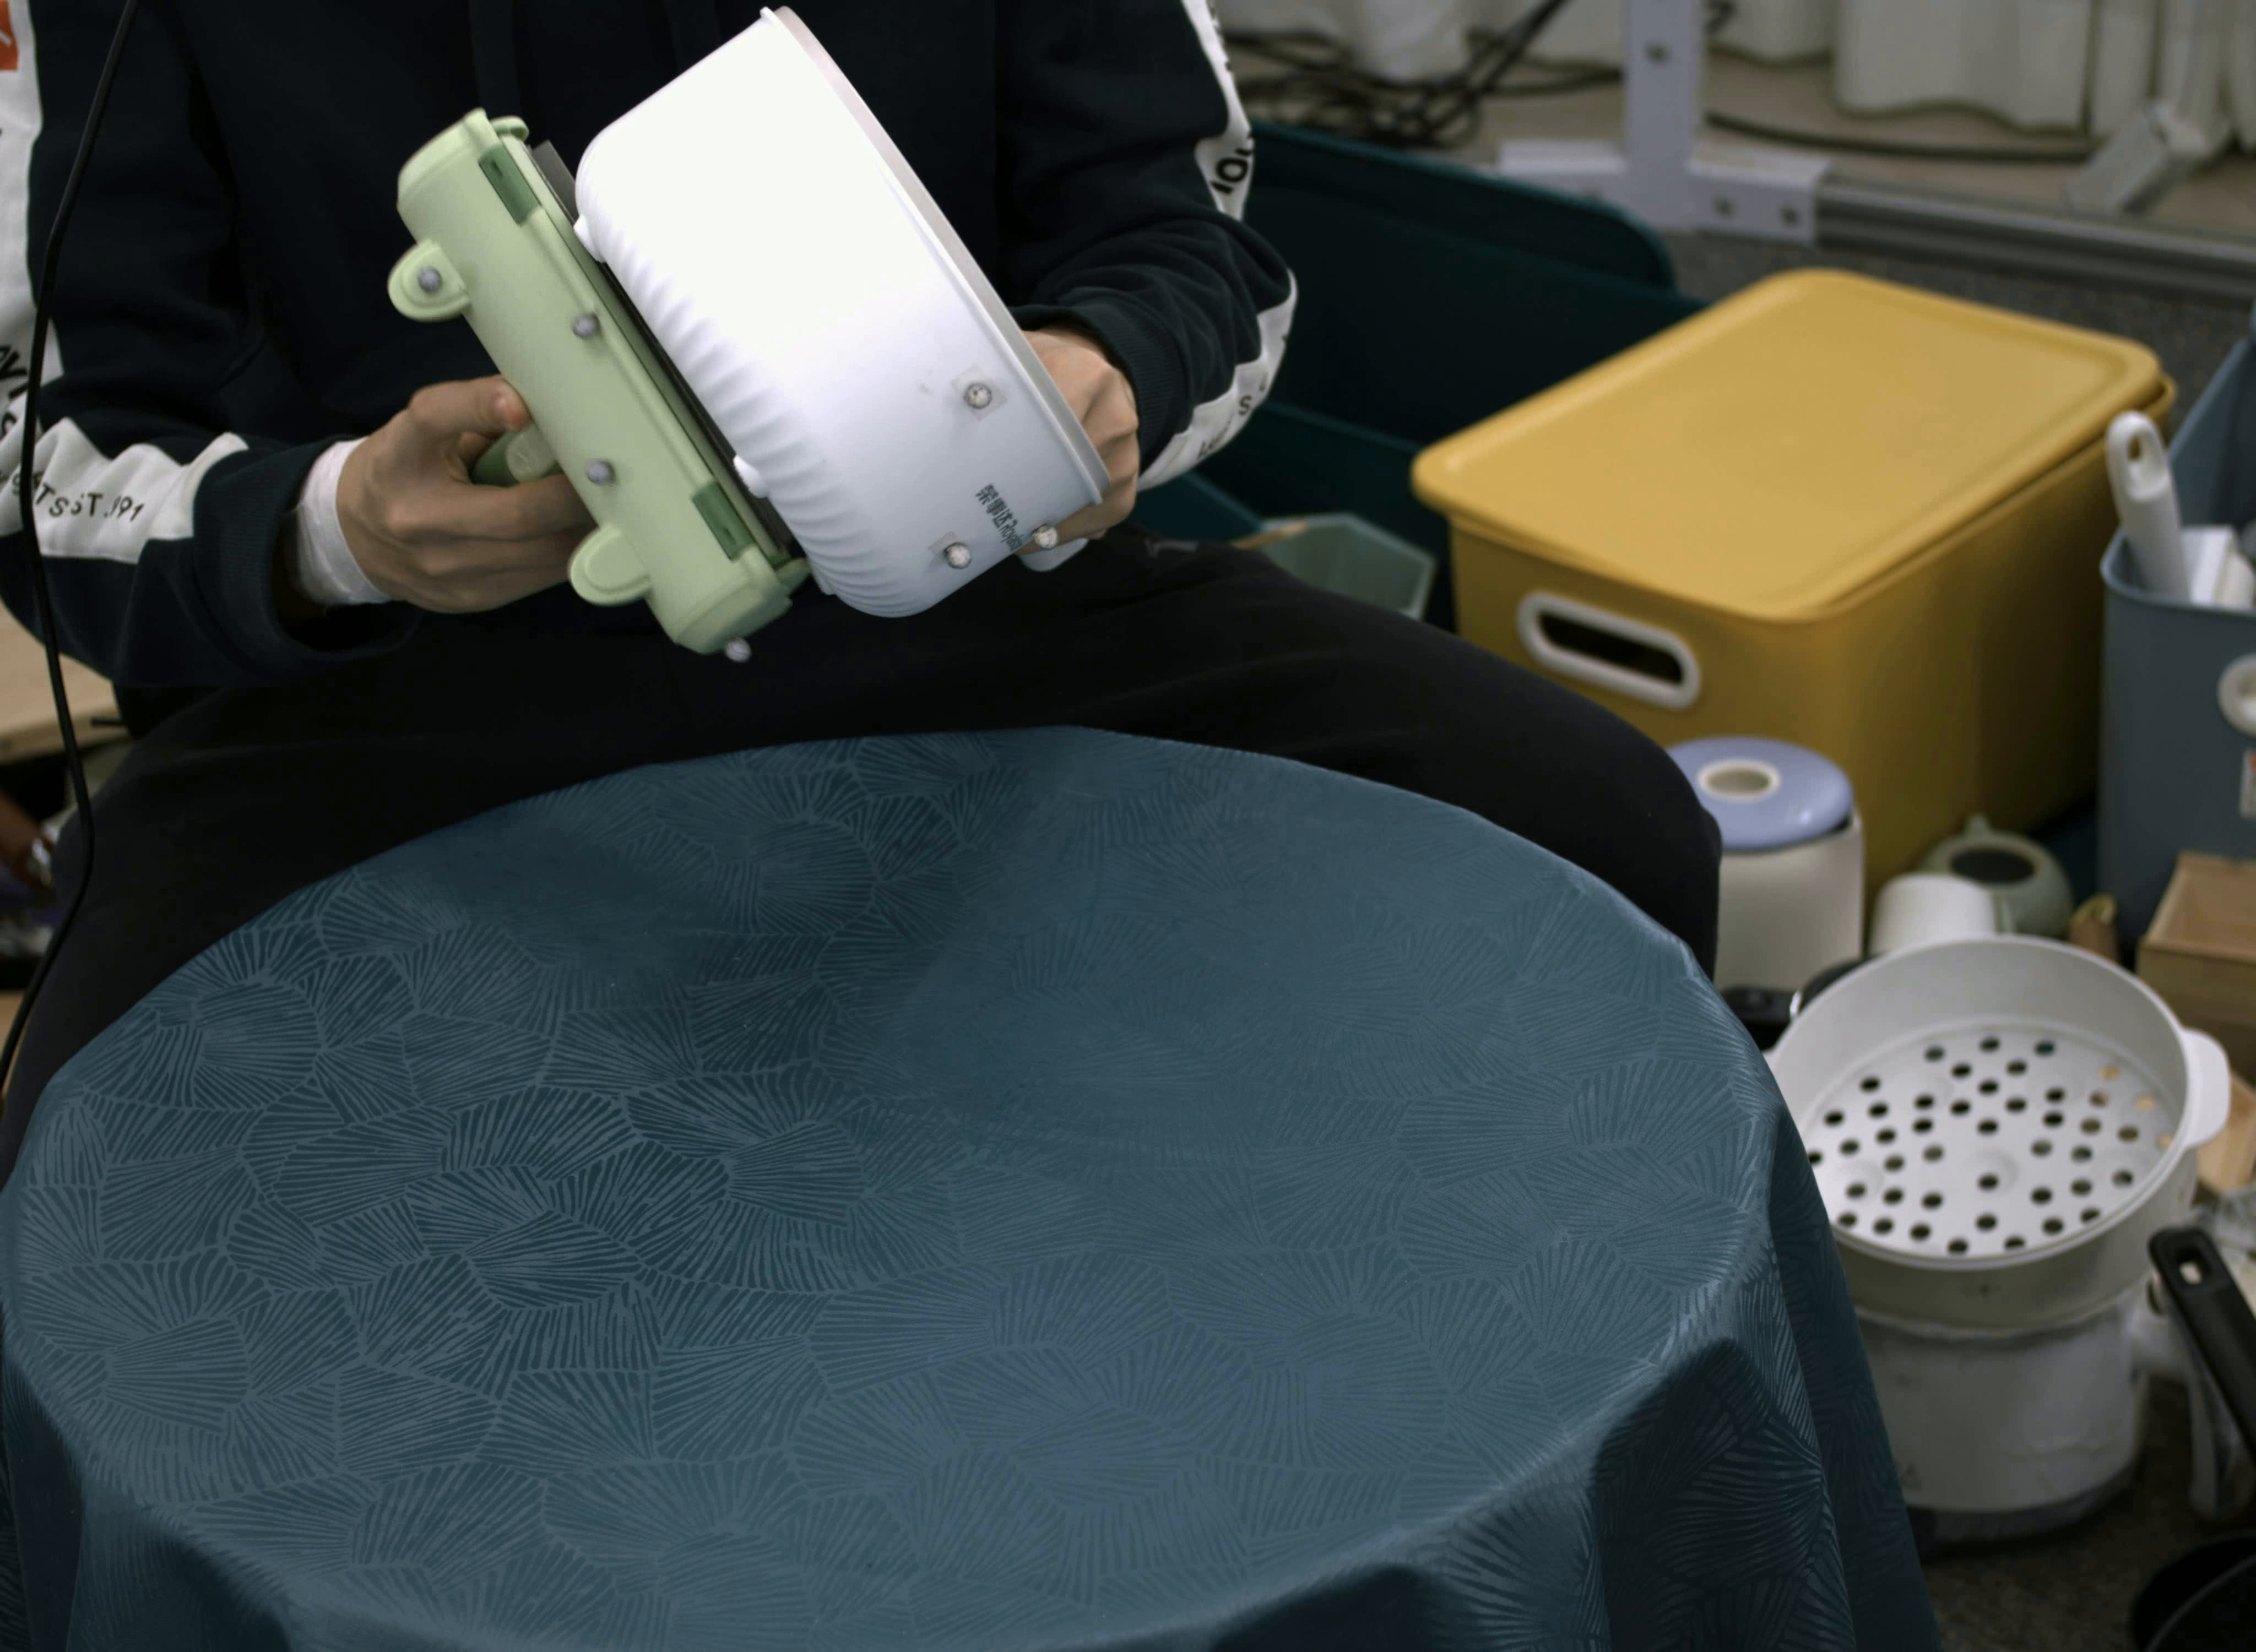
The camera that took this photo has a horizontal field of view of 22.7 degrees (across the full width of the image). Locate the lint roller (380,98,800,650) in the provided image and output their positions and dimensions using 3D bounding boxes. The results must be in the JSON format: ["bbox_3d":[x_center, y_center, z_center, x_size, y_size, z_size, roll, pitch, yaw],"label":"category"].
[{"bbox_3d":[-0.214,-0.128,1.952,0.083,0.199,0.180,-26,-9,-40],"label":"lint roller"}]

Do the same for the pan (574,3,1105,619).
[{"bbox_3d":[-0.091,-0.145,1.968,0.102,0.352,0.203,-34,71,-2],"label":"pan"}]
